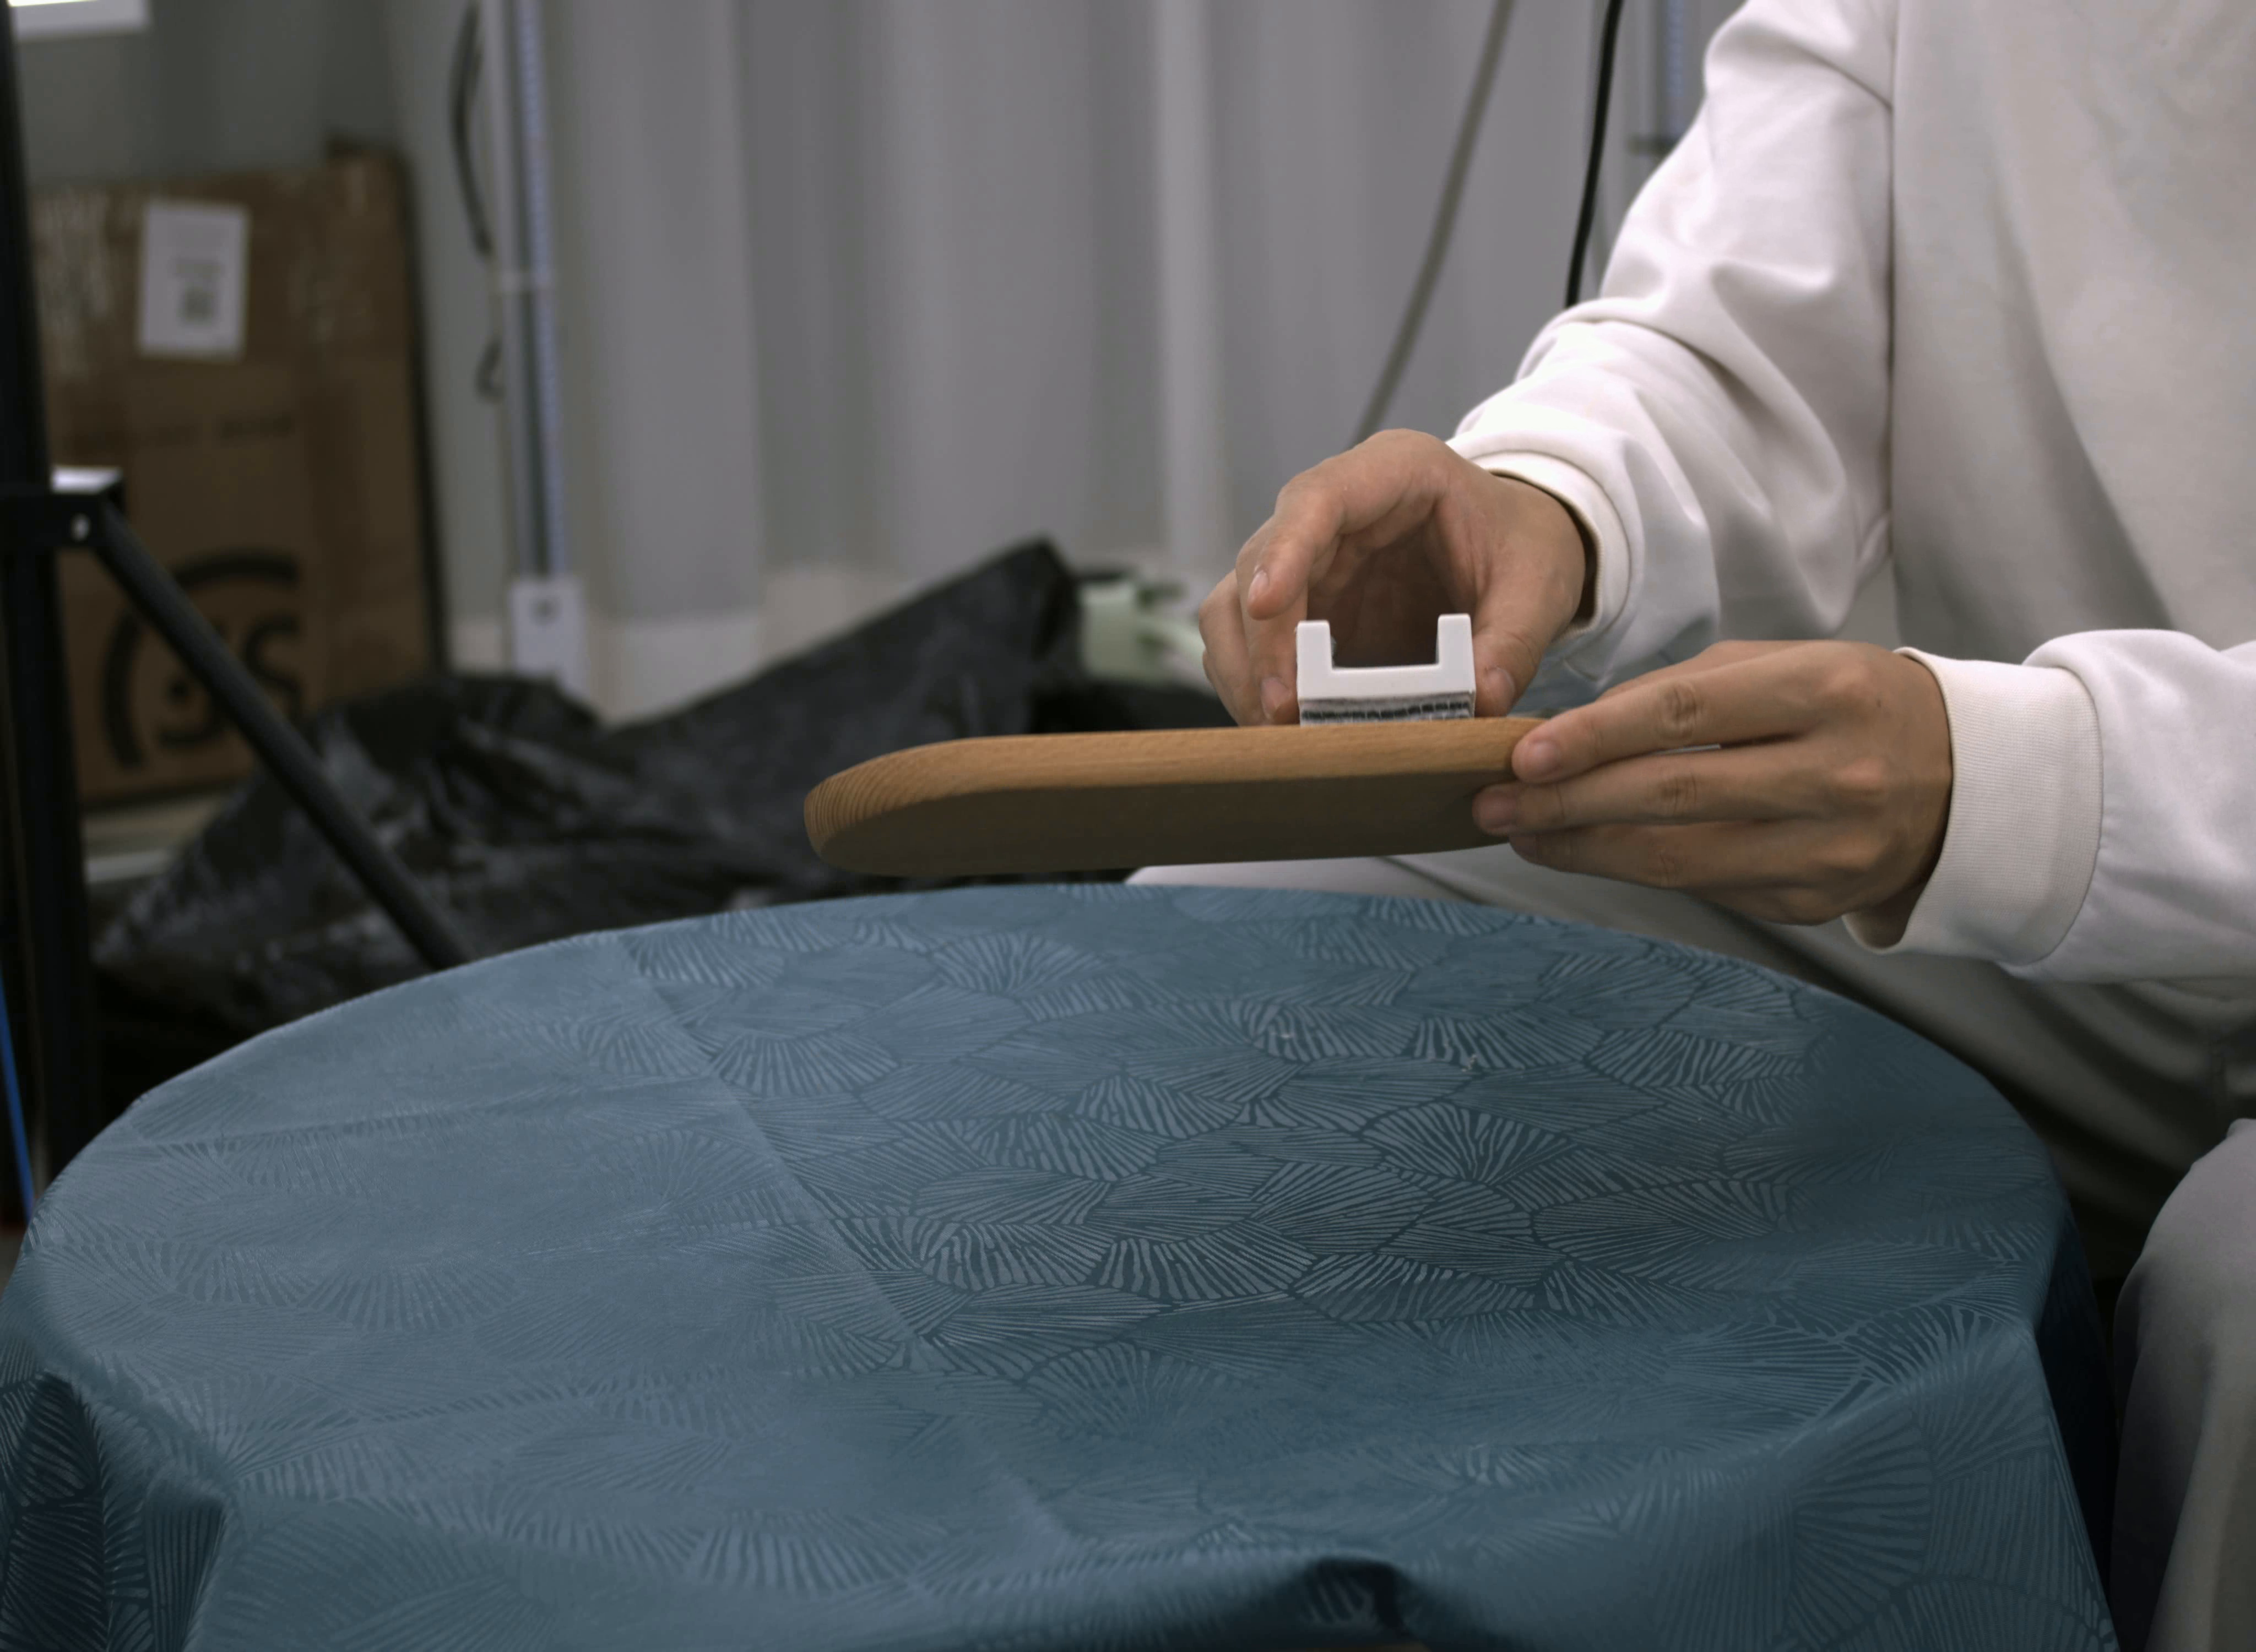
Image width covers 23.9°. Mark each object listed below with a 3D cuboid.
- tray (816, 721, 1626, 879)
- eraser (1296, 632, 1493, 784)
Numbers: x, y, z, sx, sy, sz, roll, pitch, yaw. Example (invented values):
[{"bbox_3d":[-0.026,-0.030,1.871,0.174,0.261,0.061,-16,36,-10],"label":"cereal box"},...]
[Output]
[{"bbox_3d":[0.027,-0.006,1.484,0.228,0.020,0.102,-1,-13,-11],"label":"tray"},{"bbox_3d":[0.076,-0.028,1.534,0.049,0.047,0.134,2,-5,0],"label":"eraser"}]
